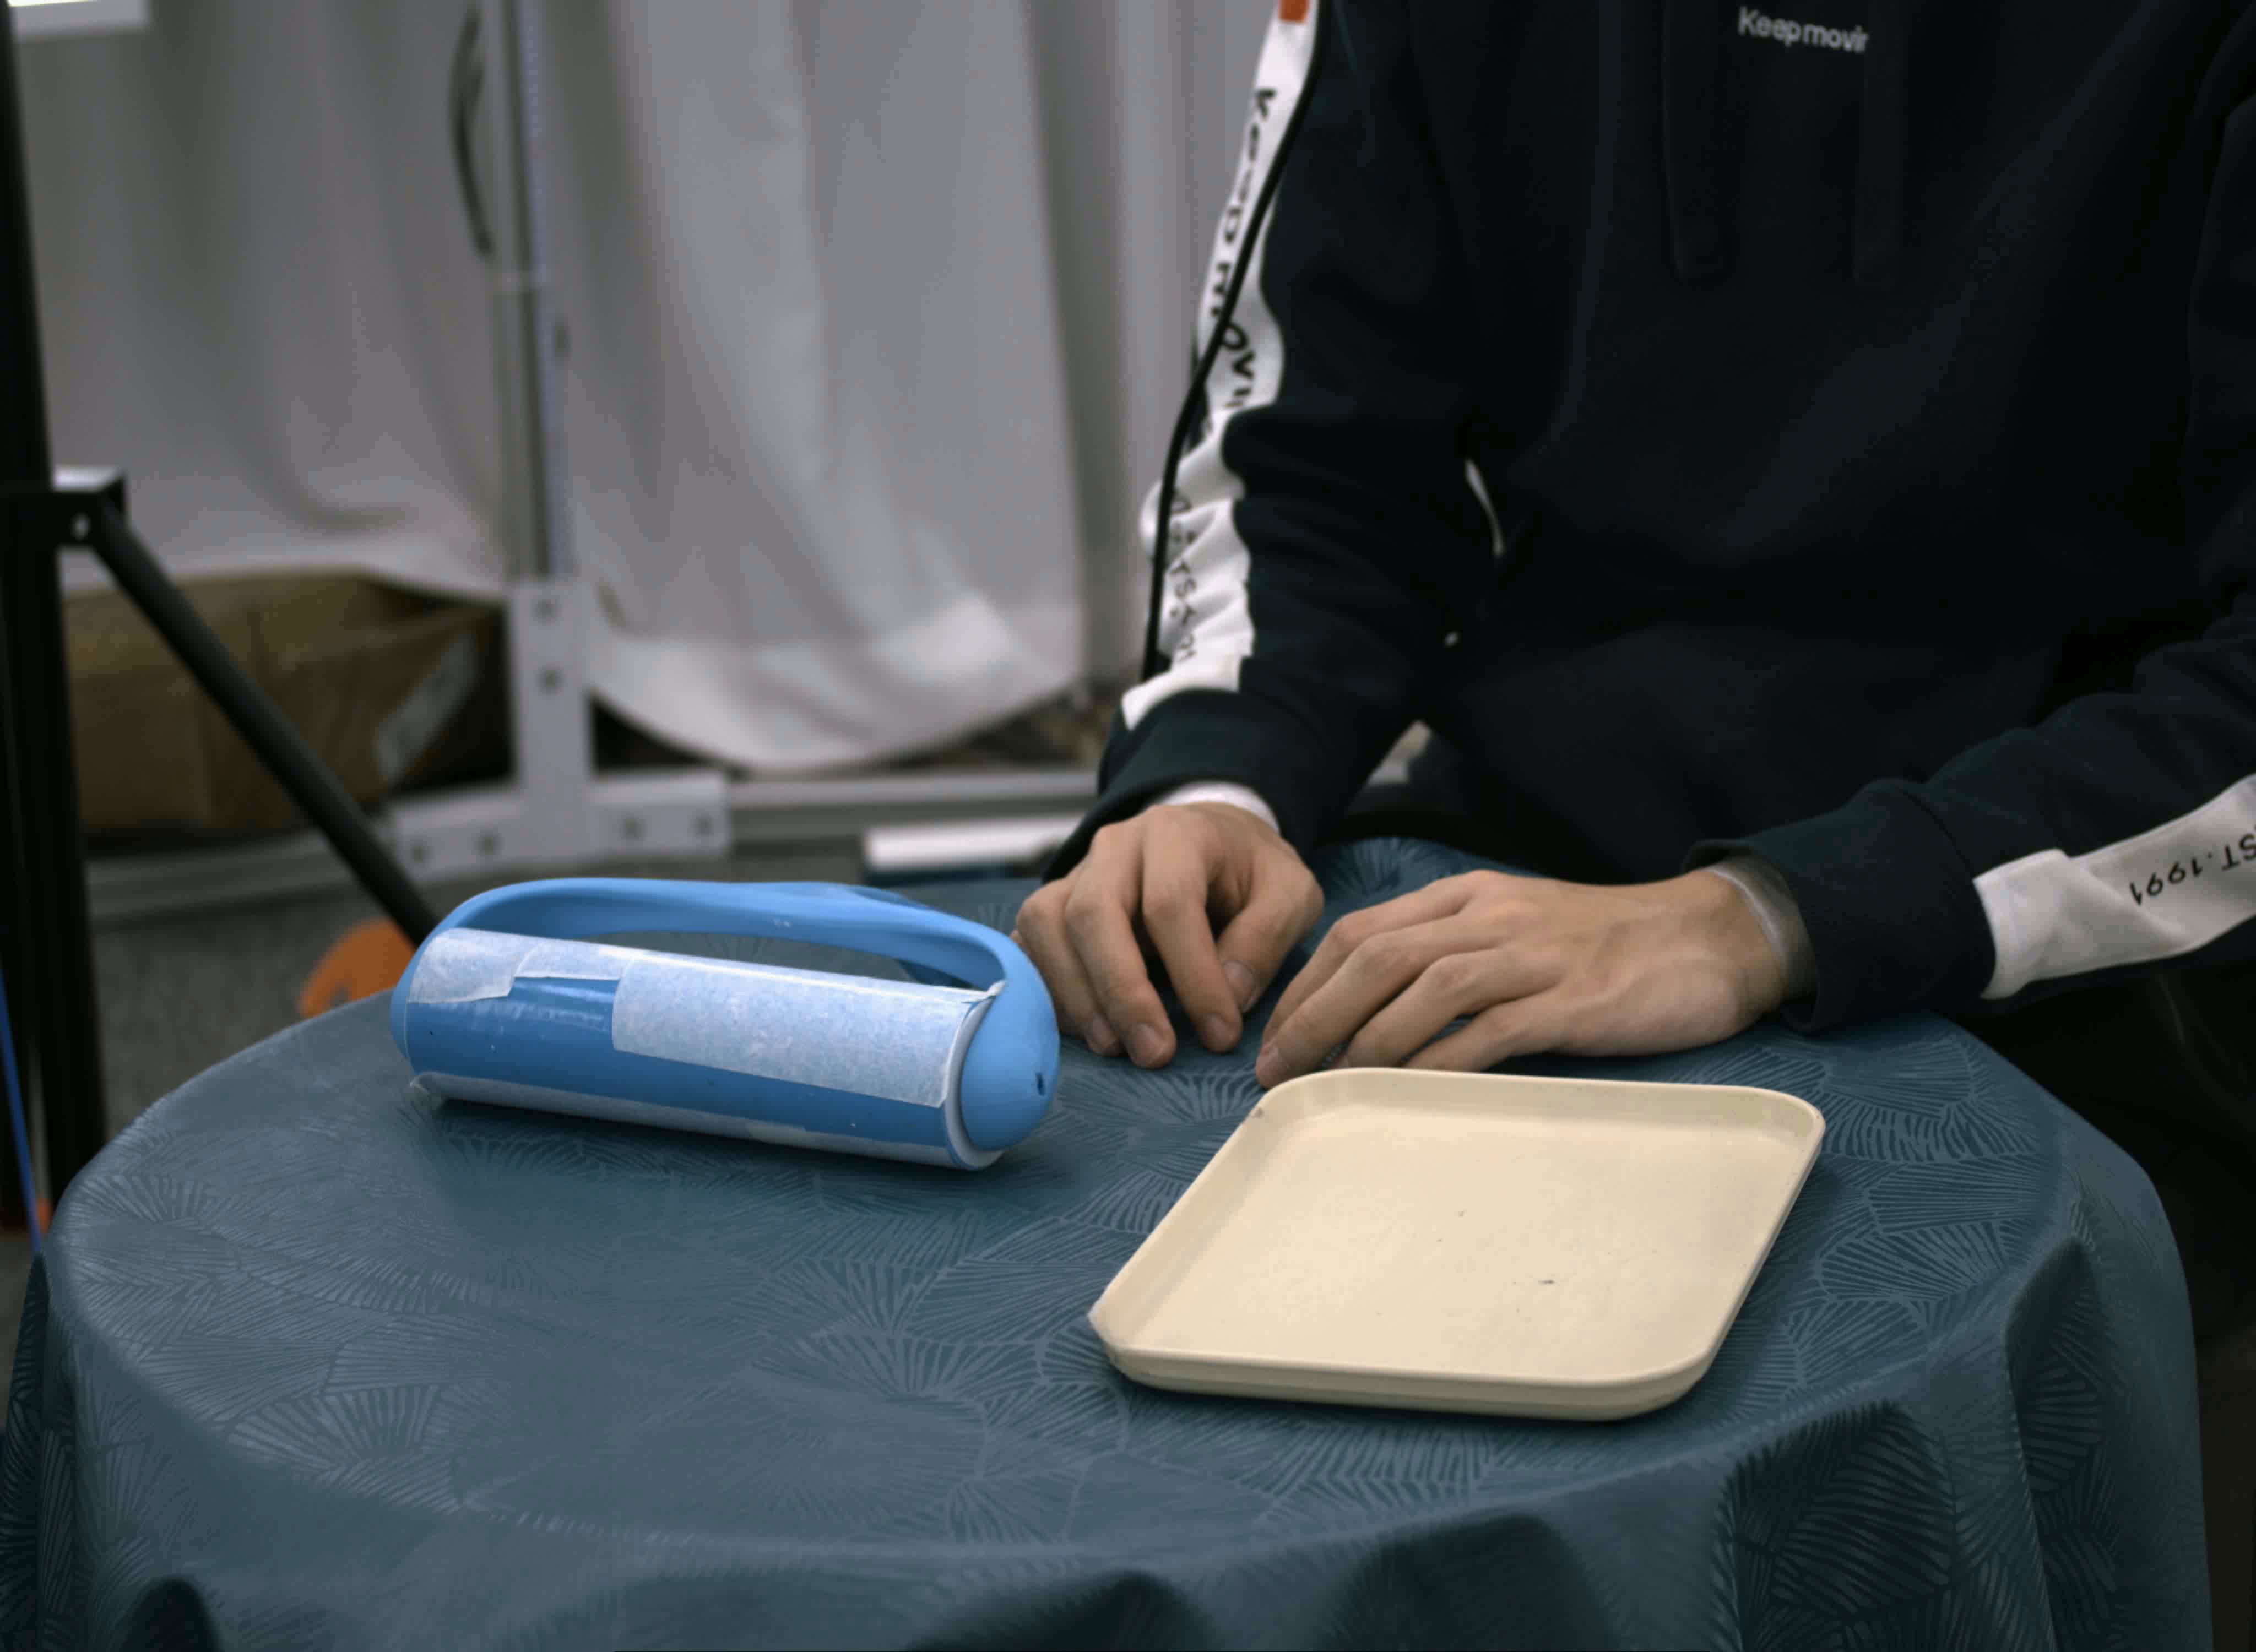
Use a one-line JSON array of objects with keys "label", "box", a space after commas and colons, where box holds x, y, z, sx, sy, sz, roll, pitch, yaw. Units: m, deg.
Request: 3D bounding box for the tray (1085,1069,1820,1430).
[{"label": "tray", "box": [0.095, 0.117, 1.478, 0.173, 0.017, 0.237, 3, 17, 17]}]

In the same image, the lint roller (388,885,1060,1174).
[{"label": "lint roller", "box": [-0.102, 0.051, 1.673, 0.232, 0.068, 0.177, 3, 18, 26]}]
